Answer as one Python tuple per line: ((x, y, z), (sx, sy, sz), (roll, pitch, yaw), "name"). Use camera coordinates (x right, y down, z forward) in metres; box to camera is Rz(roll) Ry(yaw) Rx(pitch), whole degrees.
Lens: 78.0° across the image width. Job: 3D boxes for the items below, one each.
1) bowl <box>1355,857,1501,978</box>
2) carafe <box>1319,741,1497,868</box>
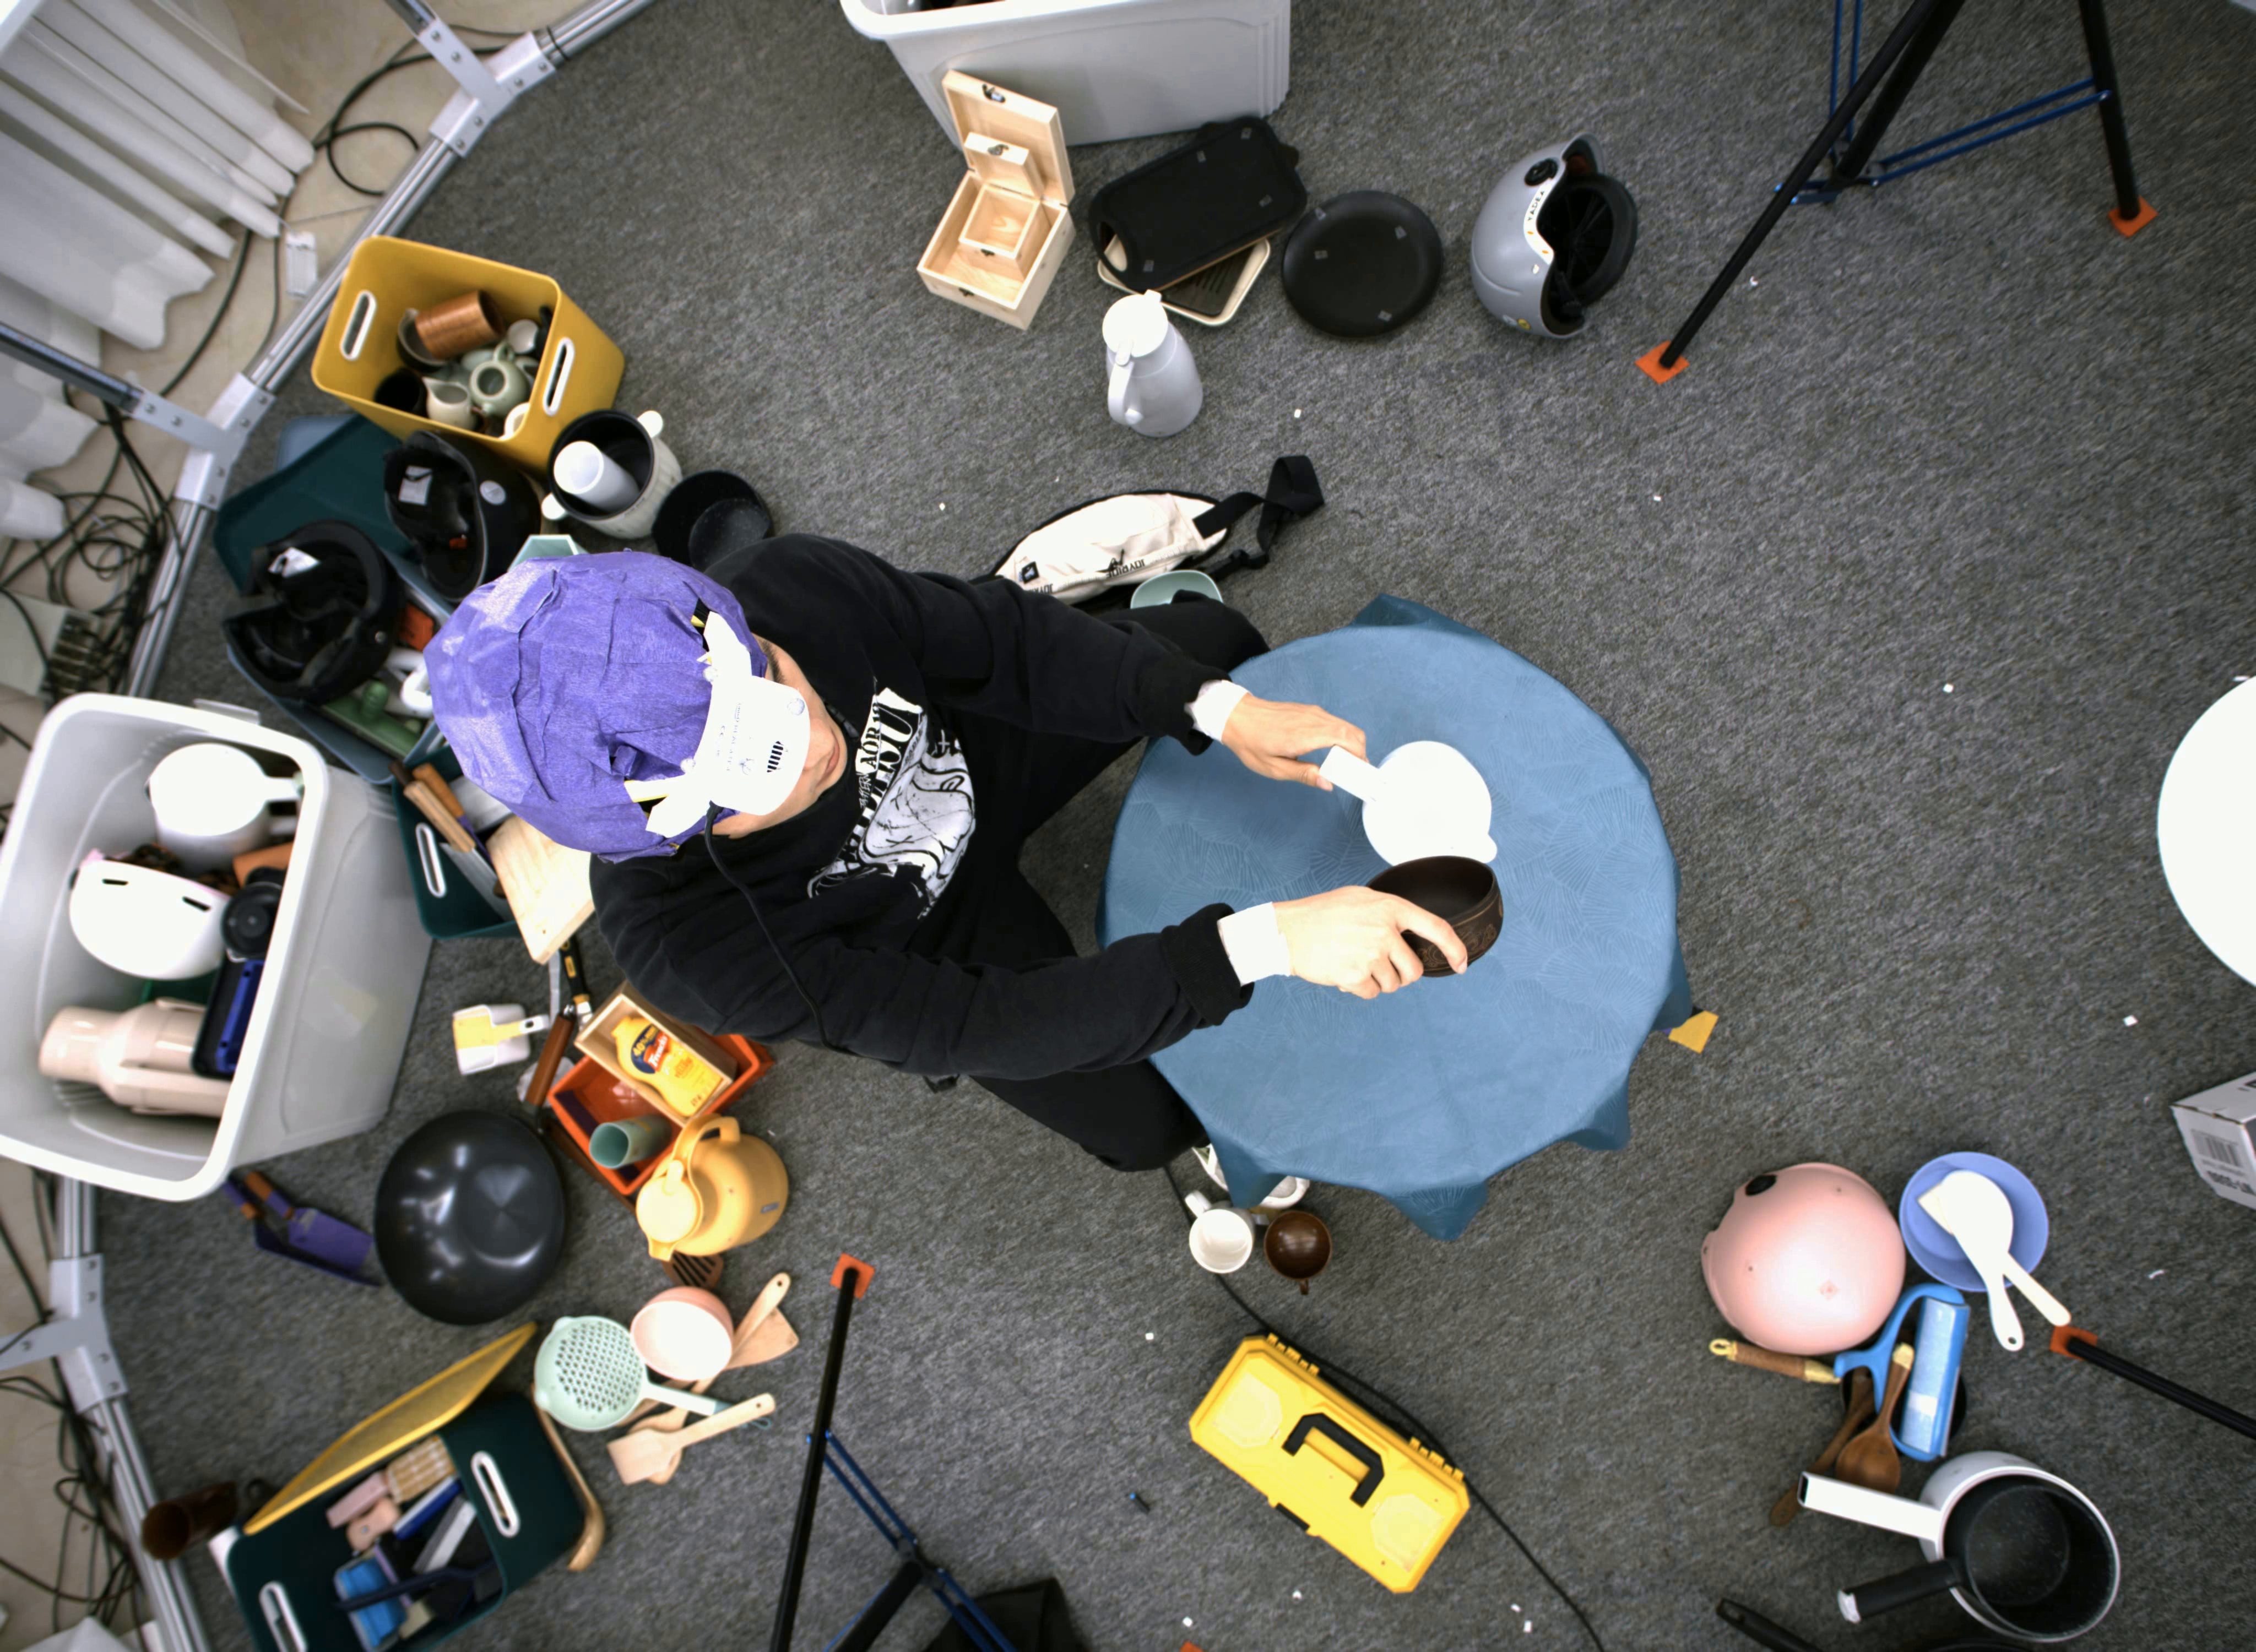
((0.252, 0.082, 1.149), (0.118, 0.115, 0.071), (-12, 115, 9), "bowl")
((0.269, -0.027, 1.323), (0.172, 0.266, 0.125), (29, 104, 7), "carafe")
